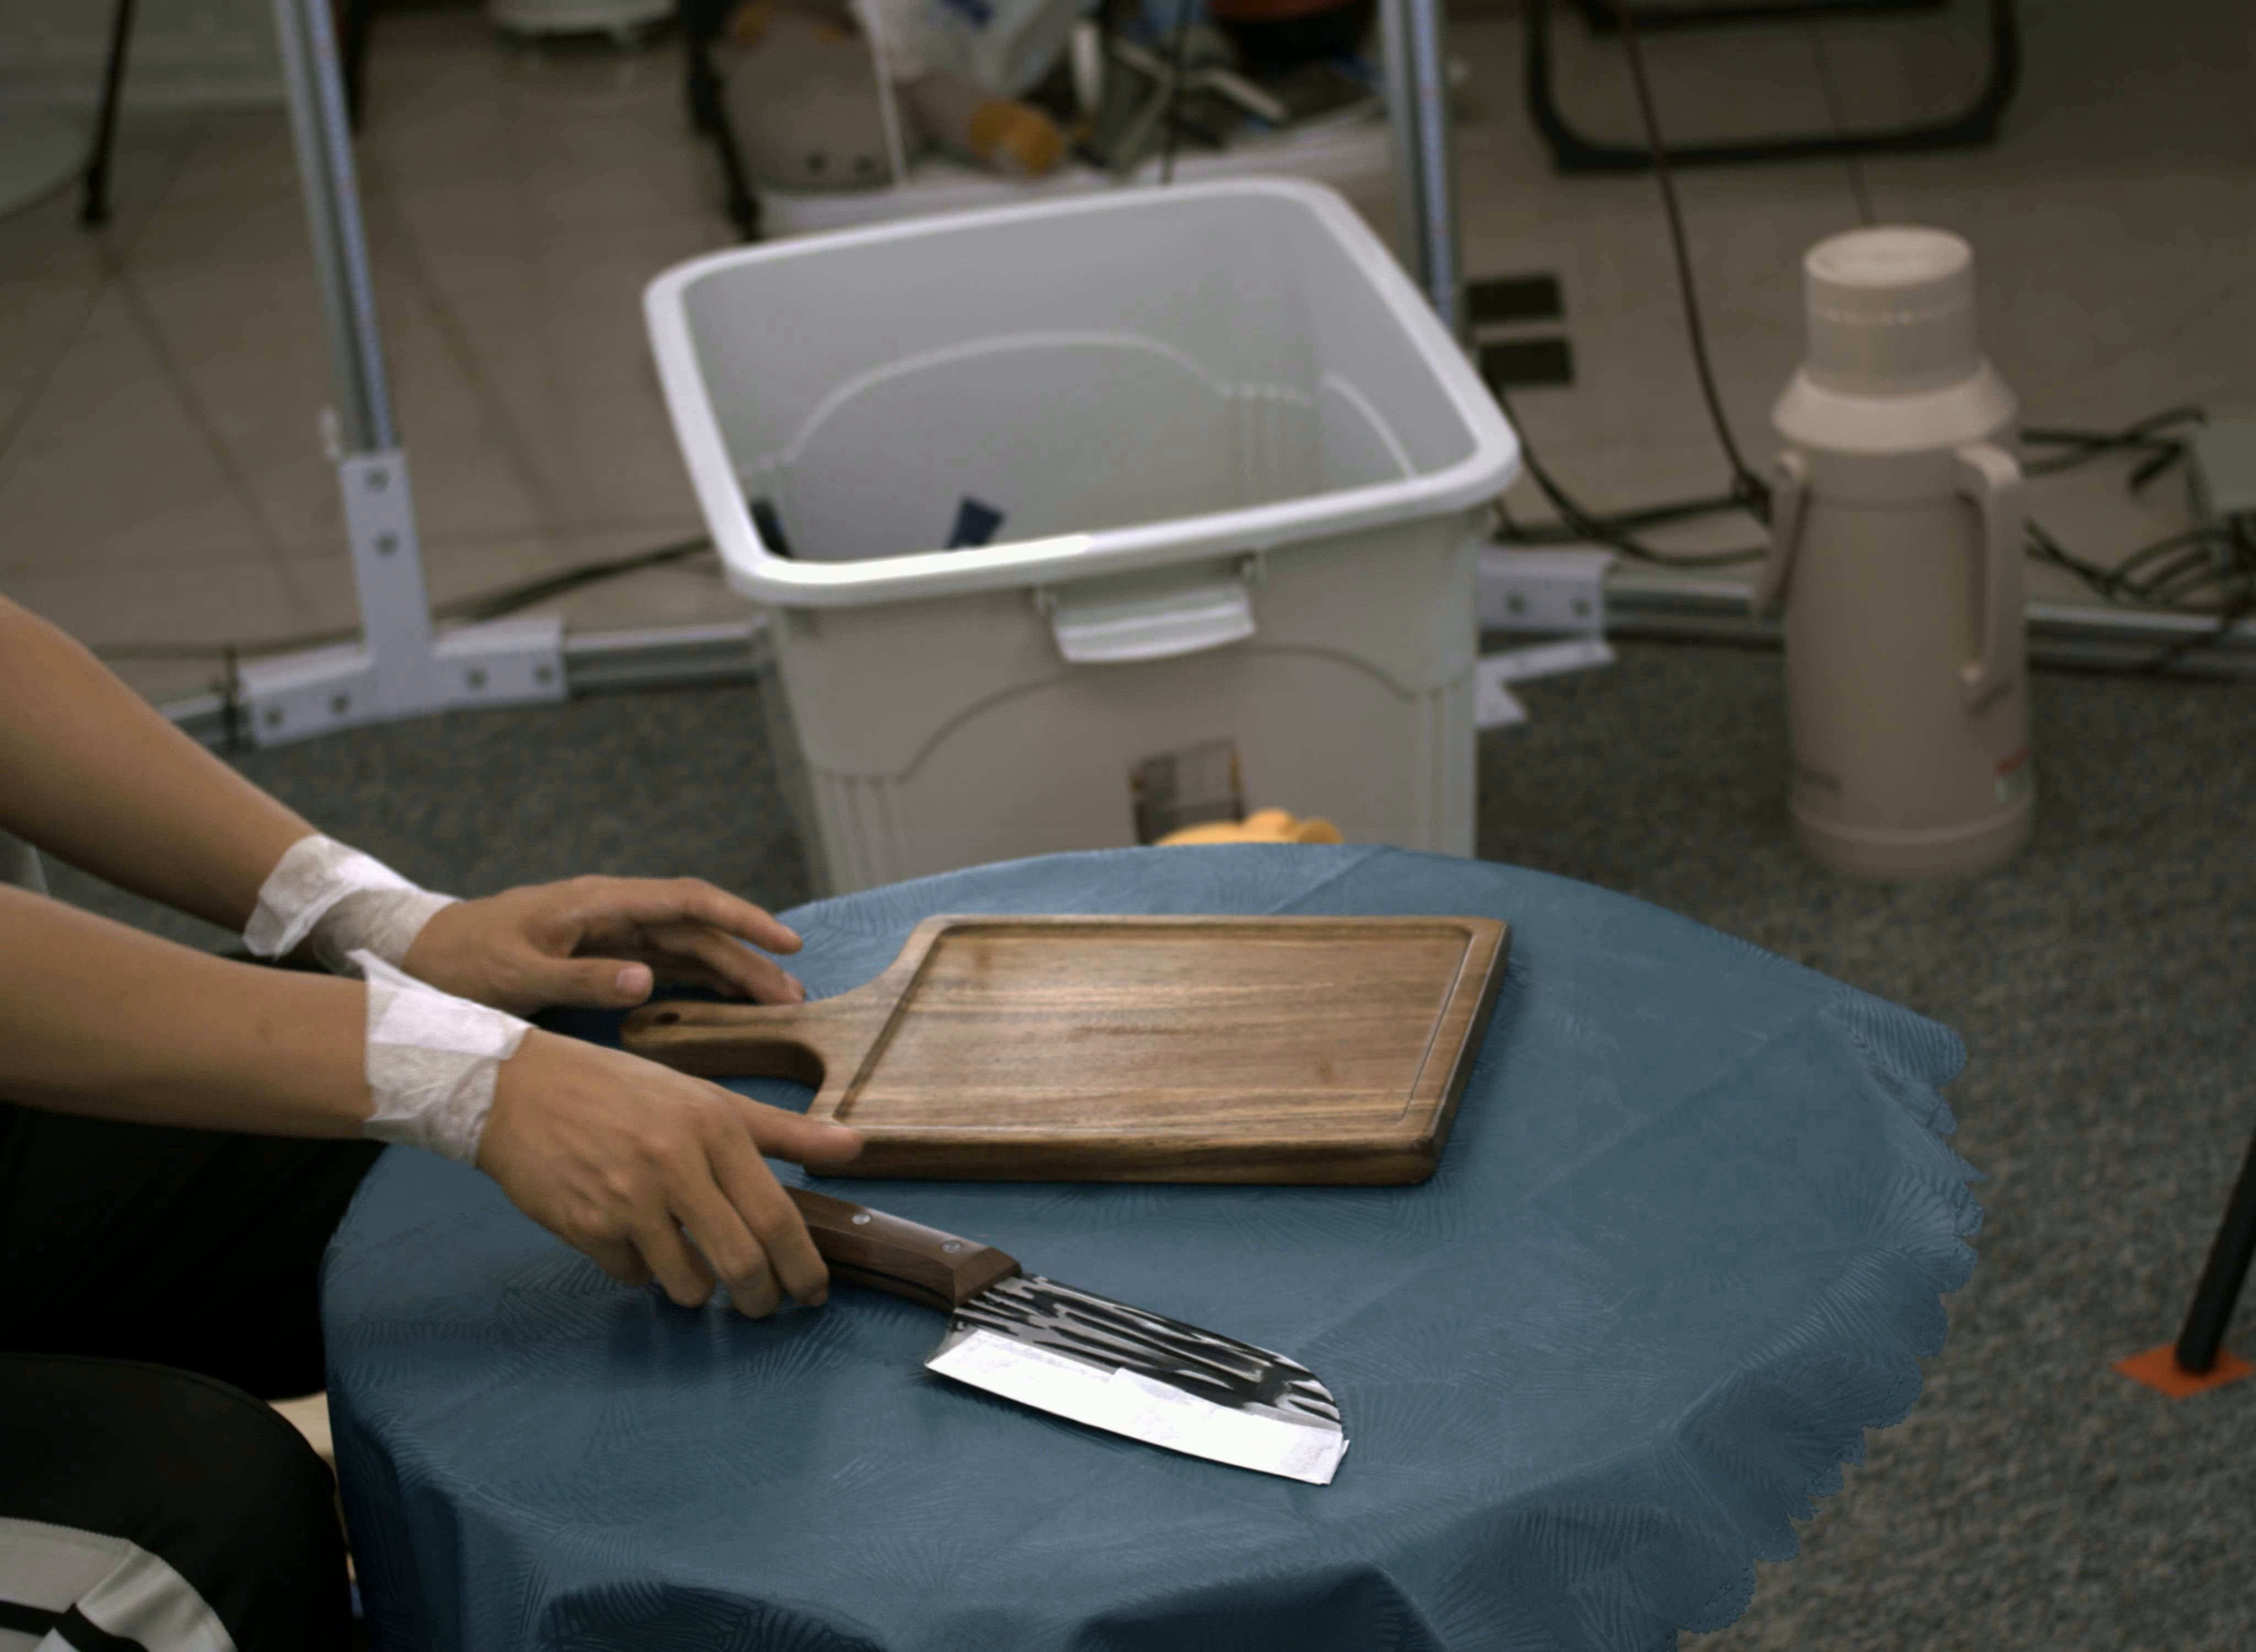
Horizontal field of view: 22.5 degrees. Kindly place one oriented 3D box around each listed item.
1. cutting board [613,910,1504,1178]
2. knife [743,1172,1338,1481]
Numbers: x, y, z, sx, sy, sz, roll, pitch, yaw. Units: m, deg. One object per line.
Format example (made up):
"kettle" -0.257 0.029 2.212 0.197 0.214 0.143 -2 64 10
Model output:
"cutting board" -0.036 0.085 2.251 0.351 0.023 0.198 -1 25 14
"knife" -0.039 0.181 2.047 0.297 0.024 0.067 16 36 34
